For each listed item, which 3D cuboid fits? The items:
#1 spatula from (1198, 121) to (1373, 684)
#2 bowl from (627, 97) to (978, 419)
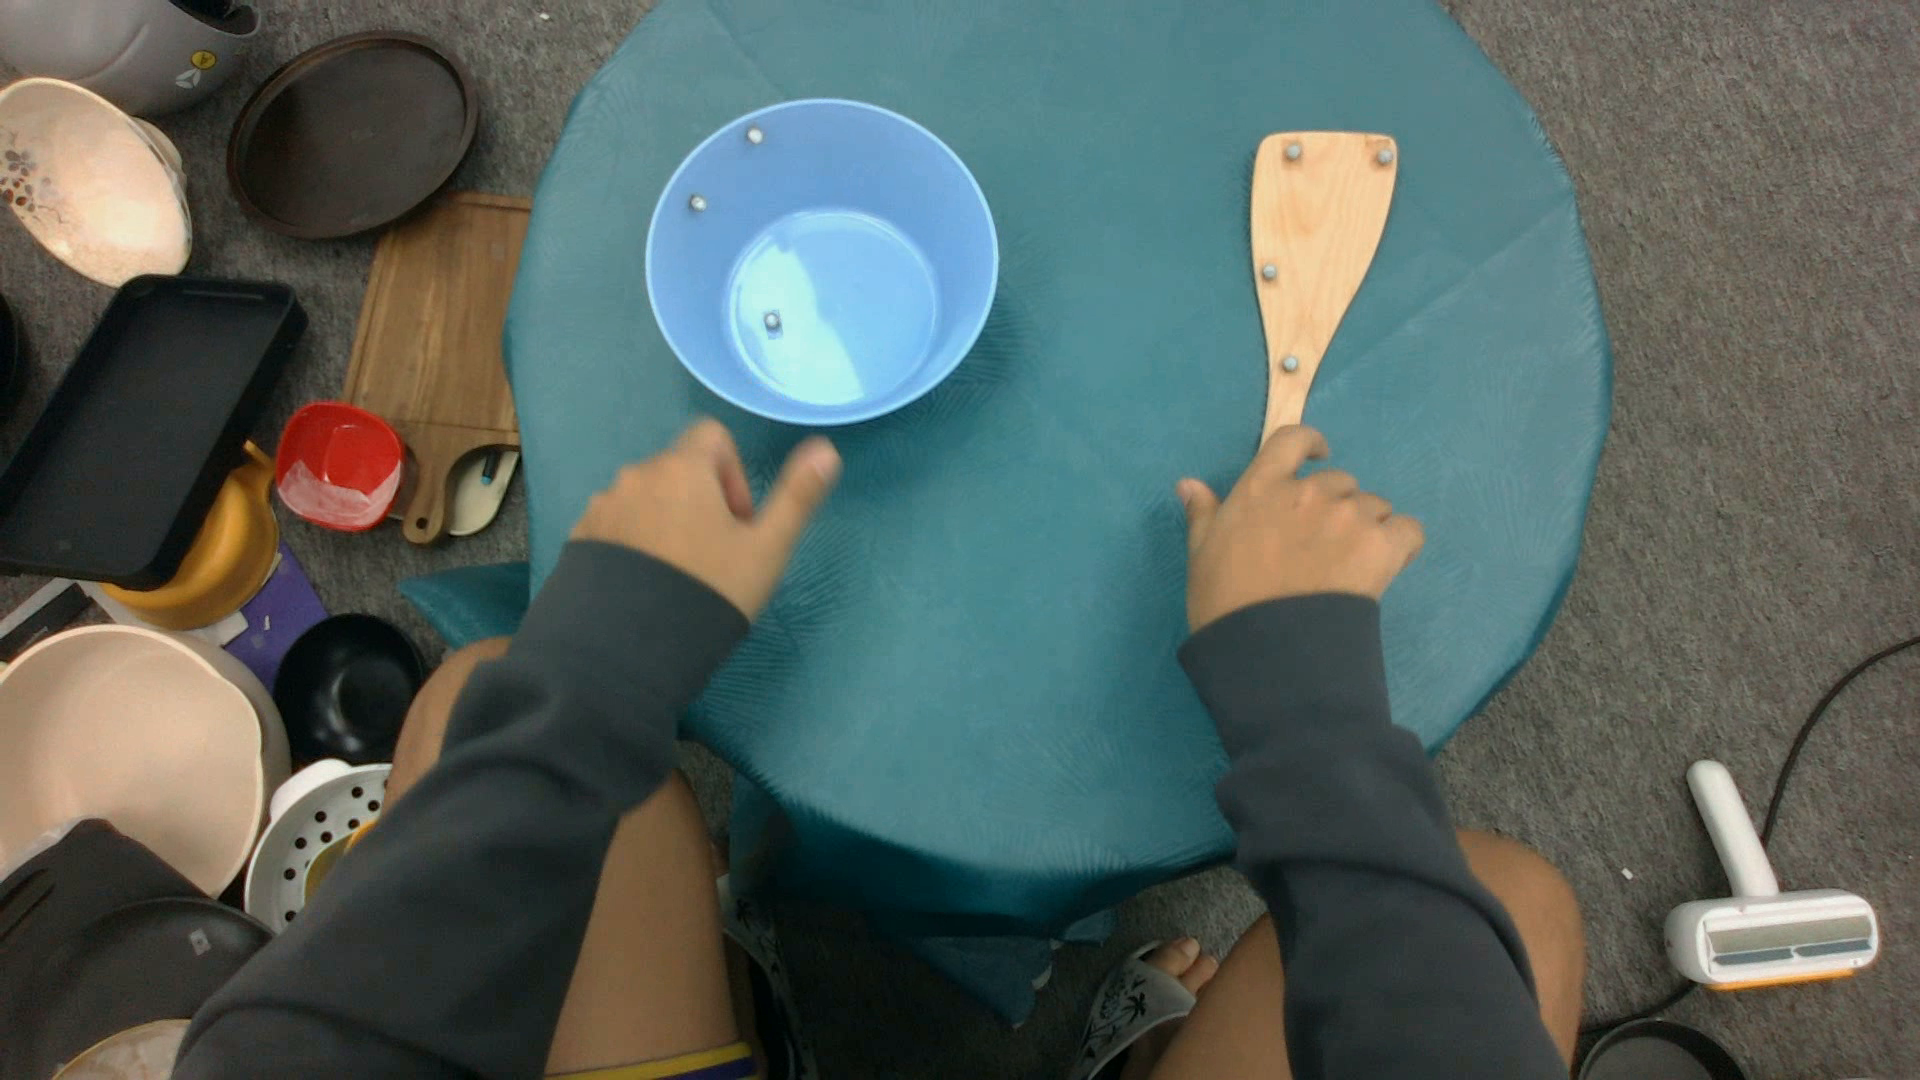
[{"bbox_3d":[0.165,-0.083,0.742,0.080,0.016,0.328,12,75,0],"label":"spatula"},{"bbox_3d":[-0.080,-0.136,0.717,0.176,0.070,0.176,1,75,-2],"label":"bowl"}]
